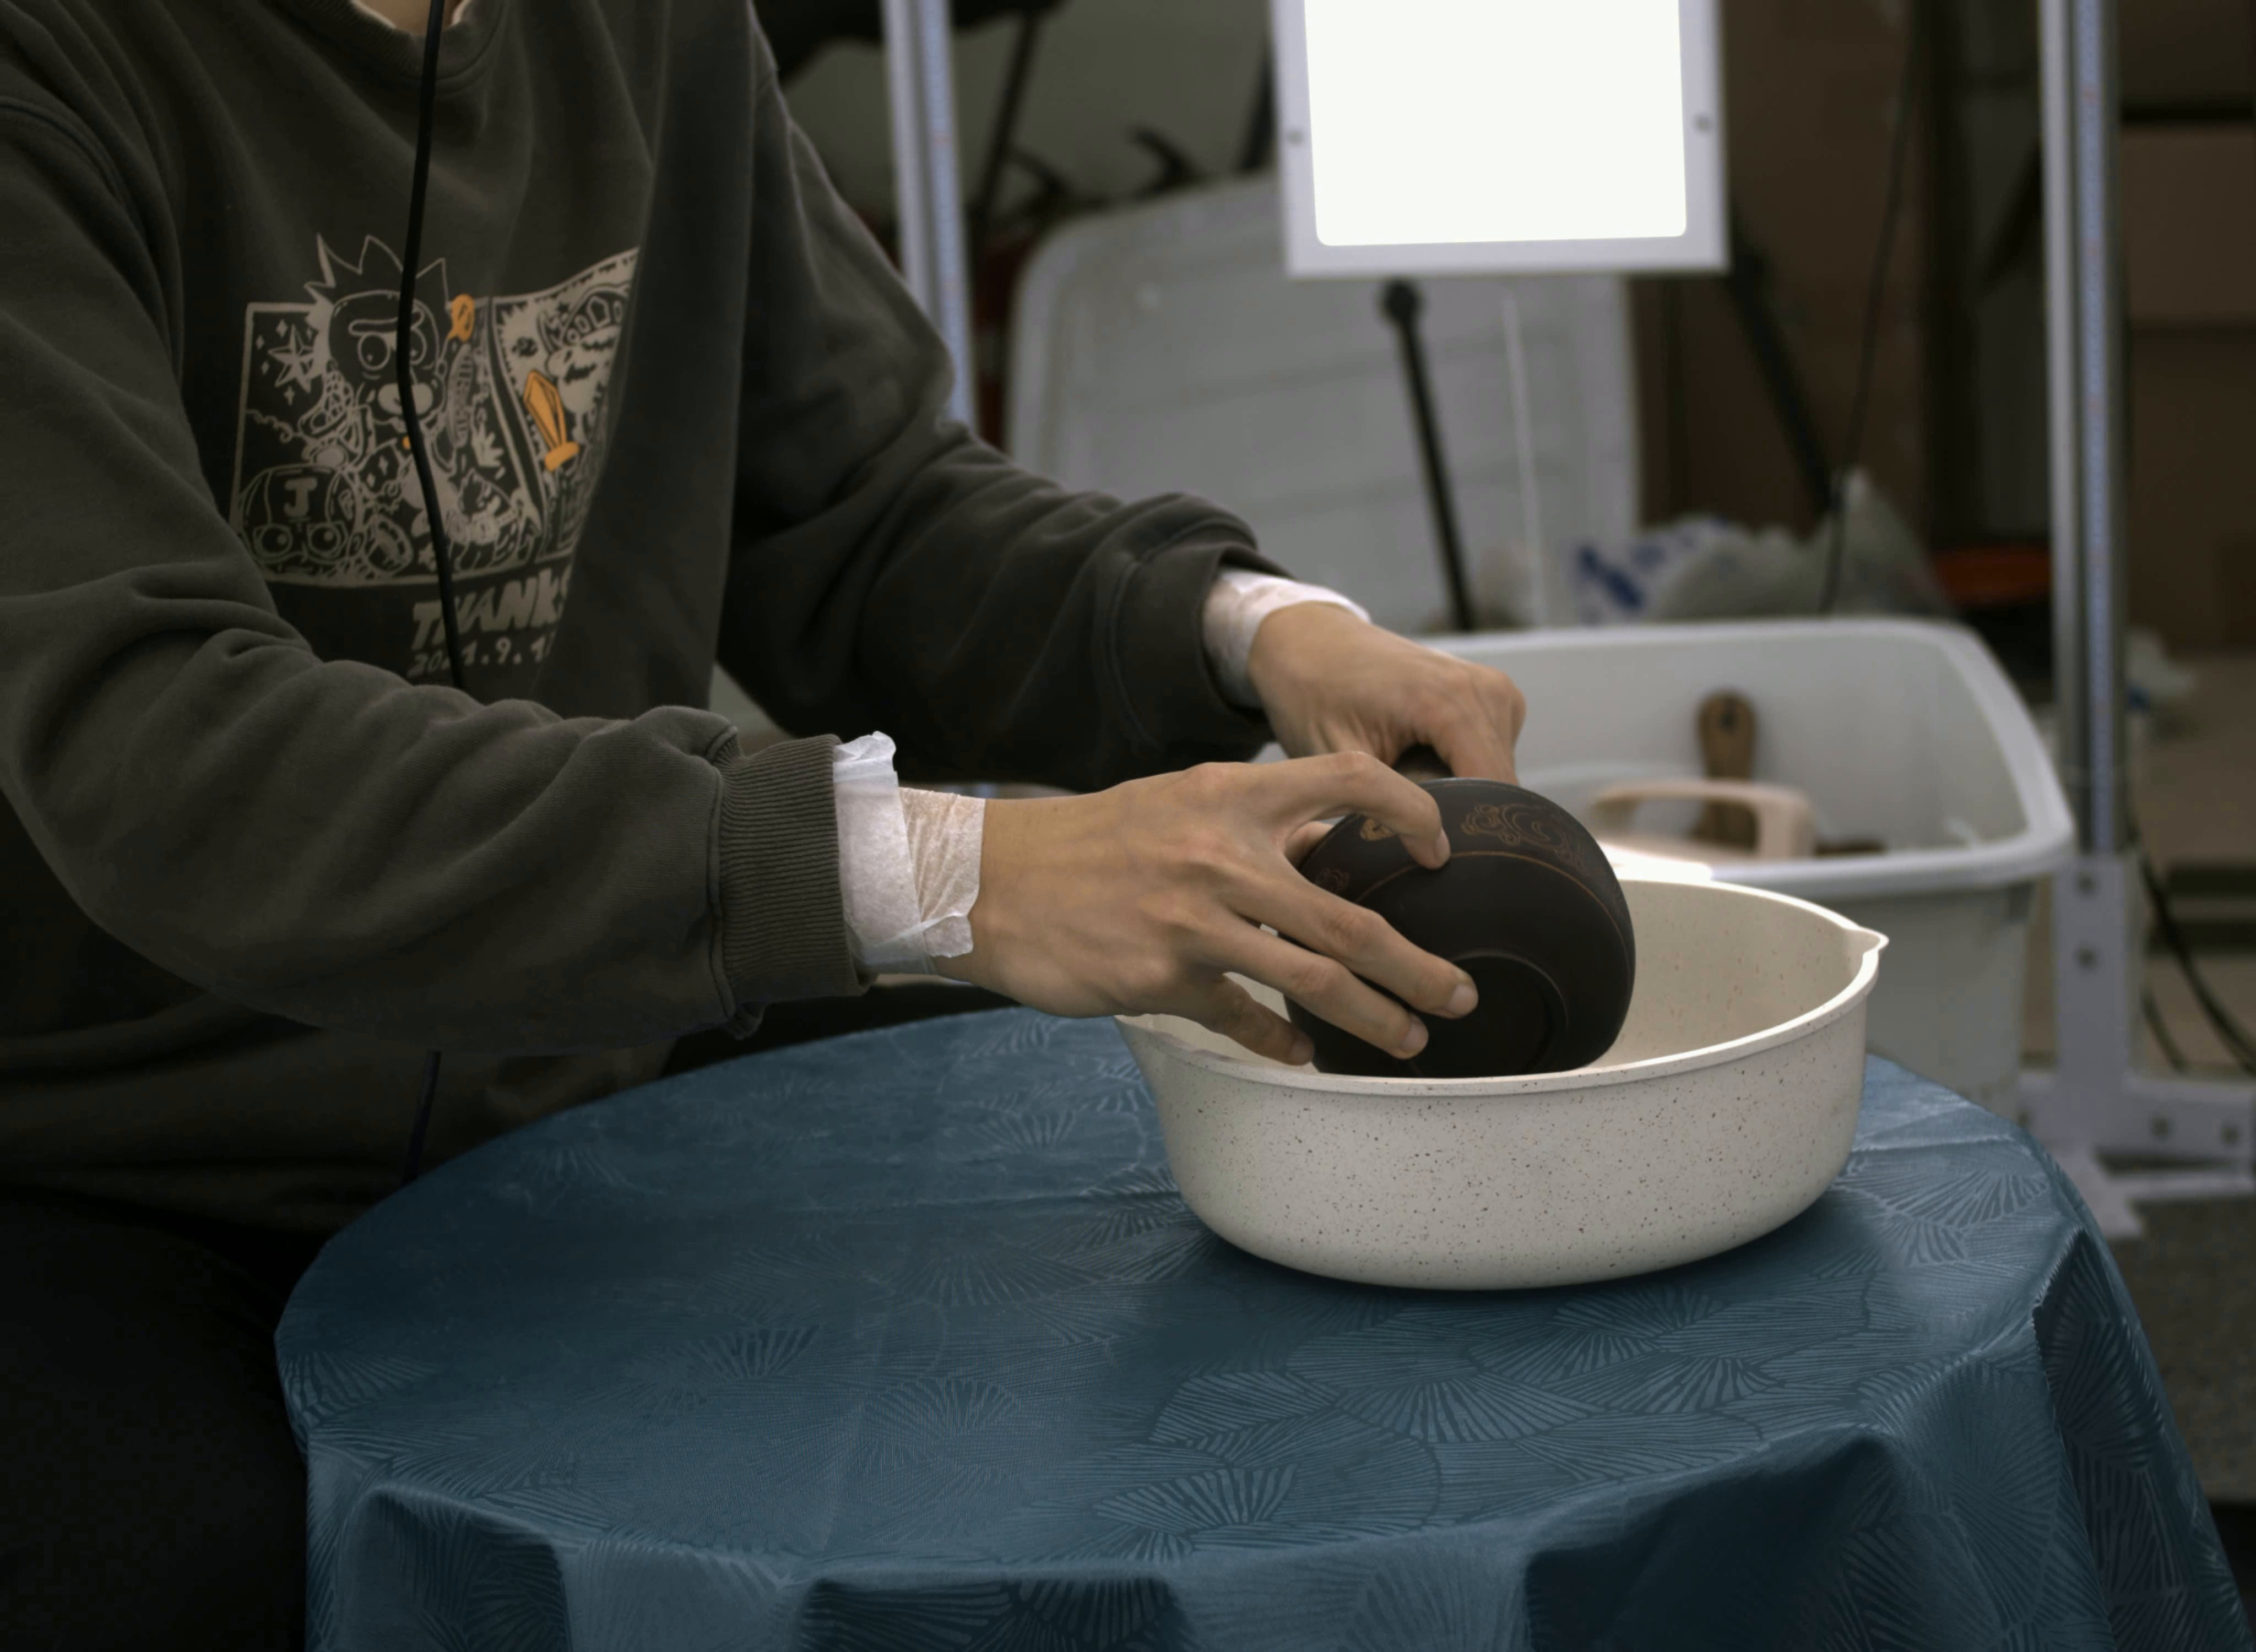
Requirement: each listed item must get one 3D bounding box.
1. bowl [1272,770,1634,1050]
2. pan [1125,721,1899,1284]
[{"bbox_3d":[0.109,0.048,1.785,0.117,0.118,0.070,-5,28,-3],"label":"bowl"},{"bbox_3d":[0.126,0.057,1.927,0.262,0.102,0.435,-7,14,-1],"label":"pan"}]
